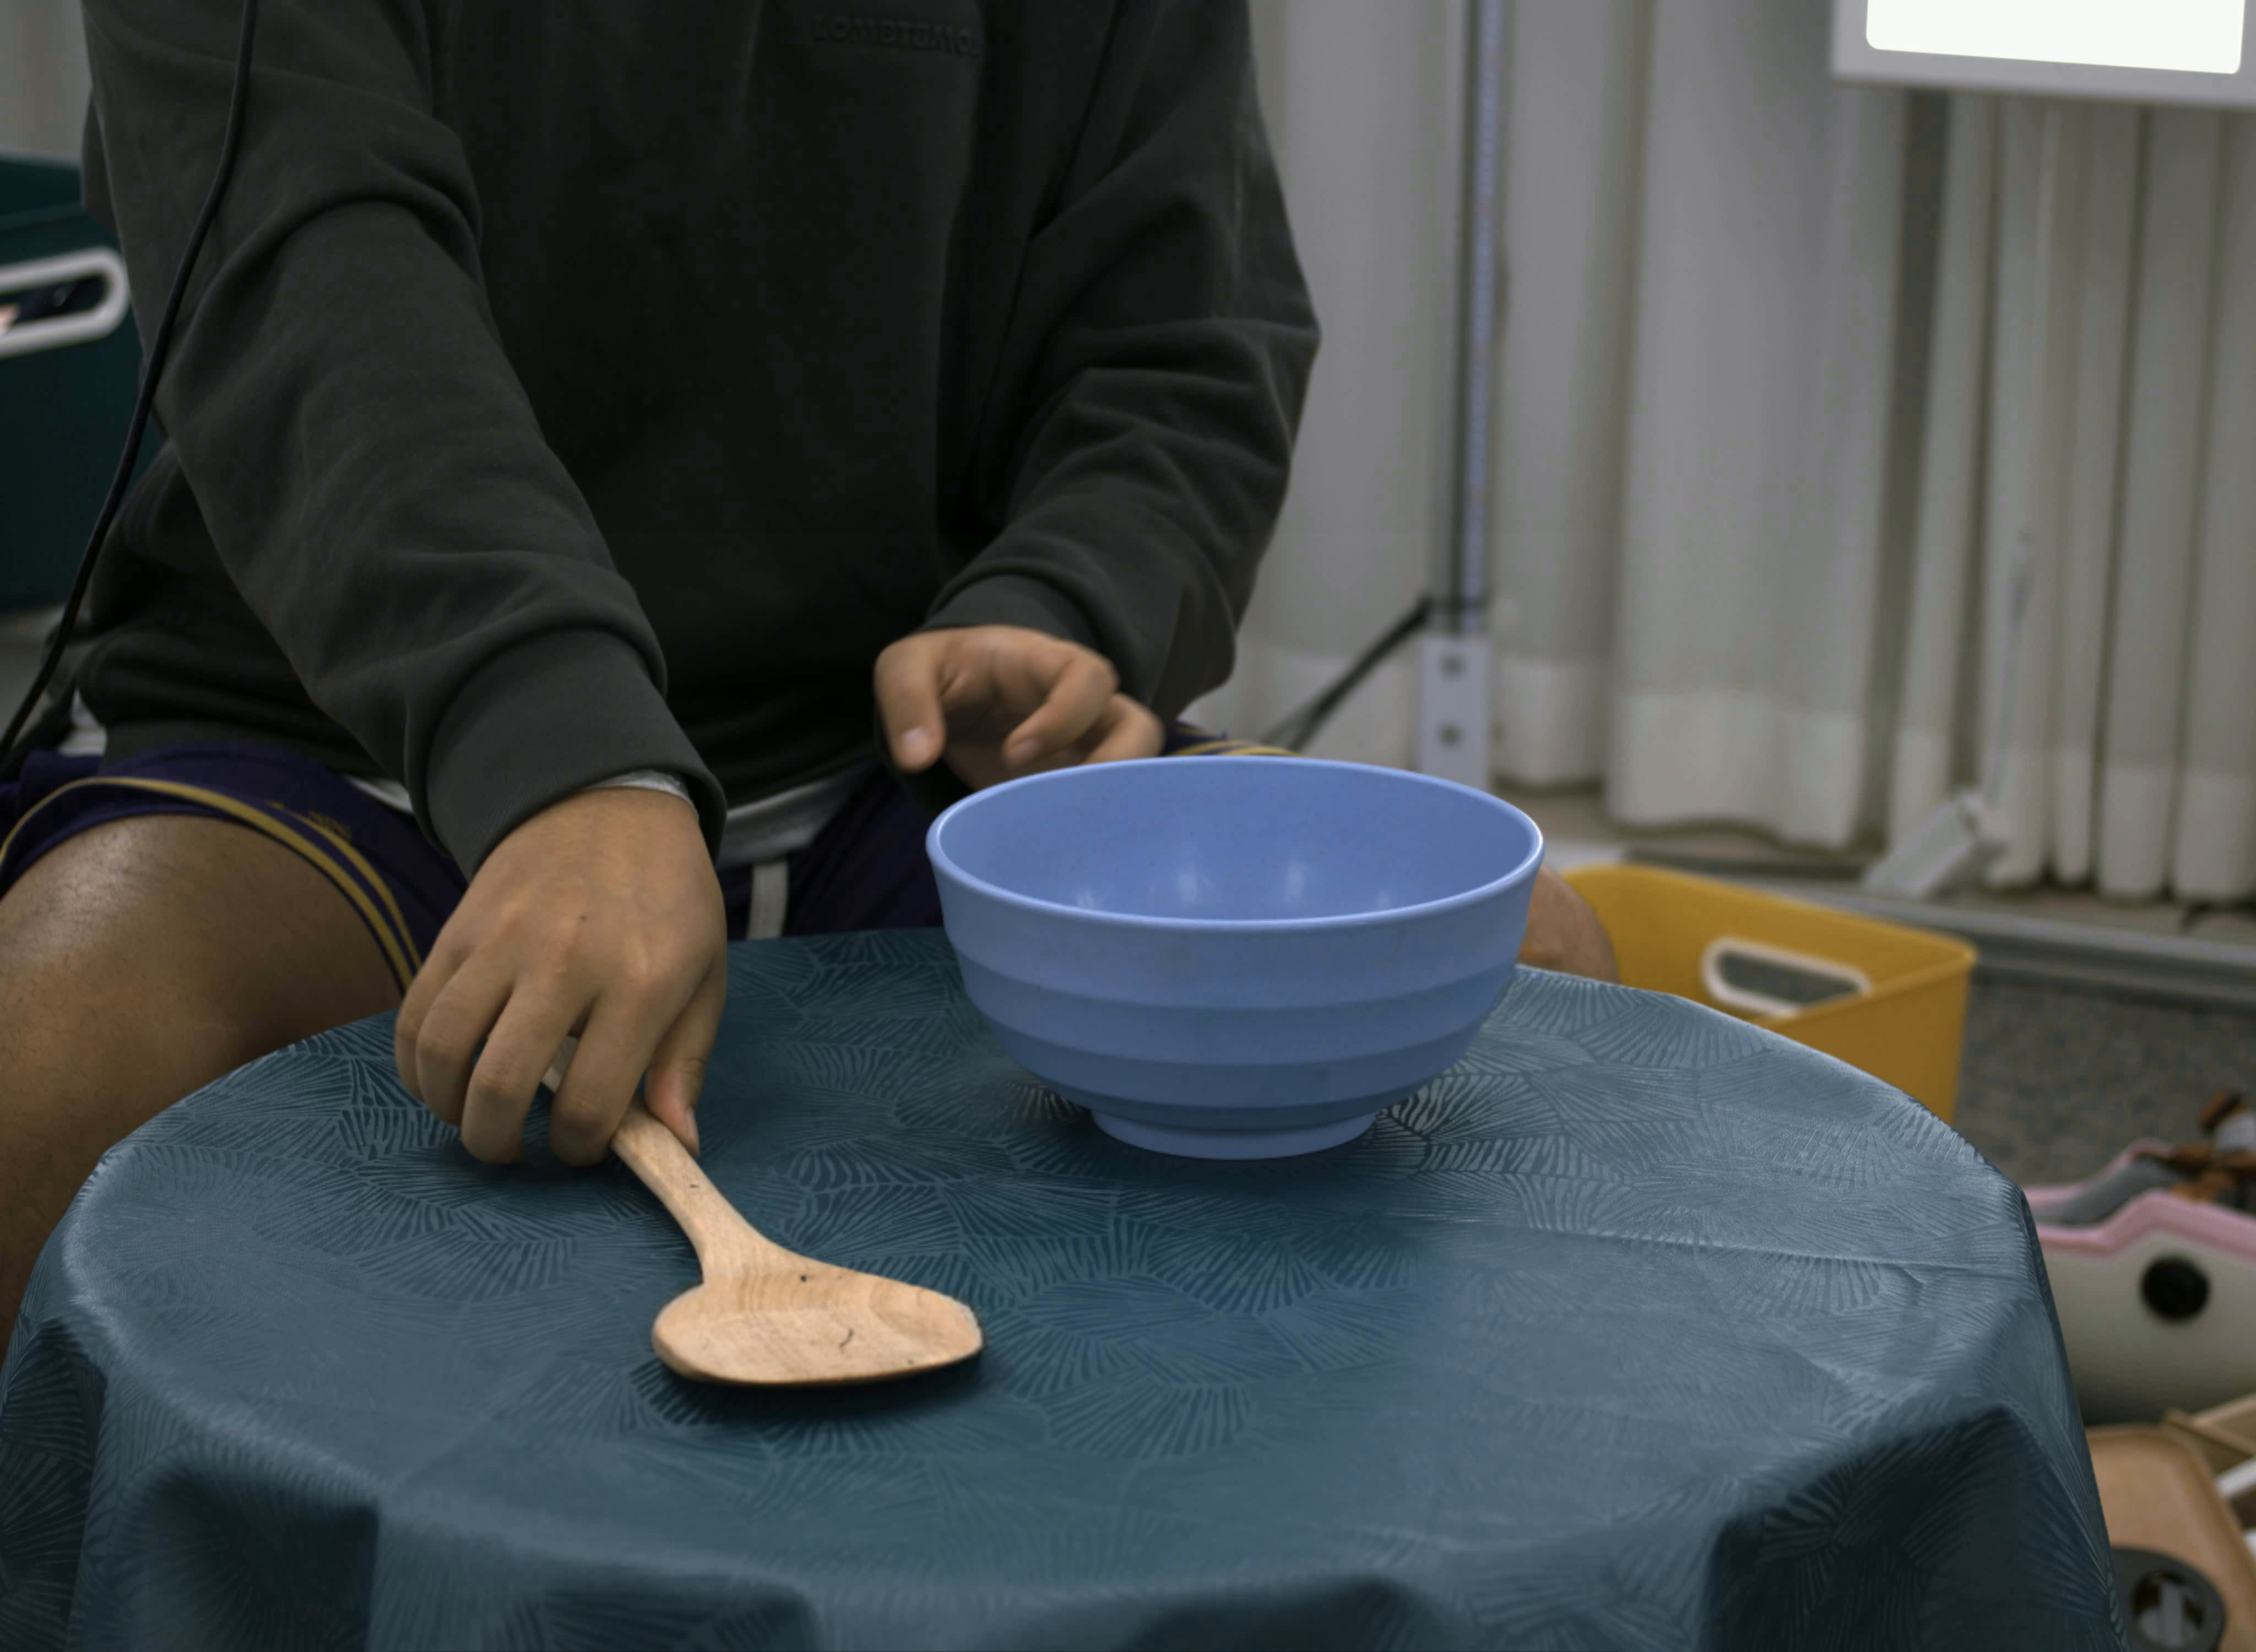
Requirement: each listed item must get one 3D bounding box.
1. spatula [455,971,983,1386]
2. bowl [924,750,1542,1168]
[{"bbox_3d":[-0.149,0.102,1.605,0.096,0.018,0.386,-1,17,-23],"label":"spatula"},{"bbox_3d":[0.034,0.049,1.683,0.196,0.096,0.195,0,18,1],"label":"bowl"}]
